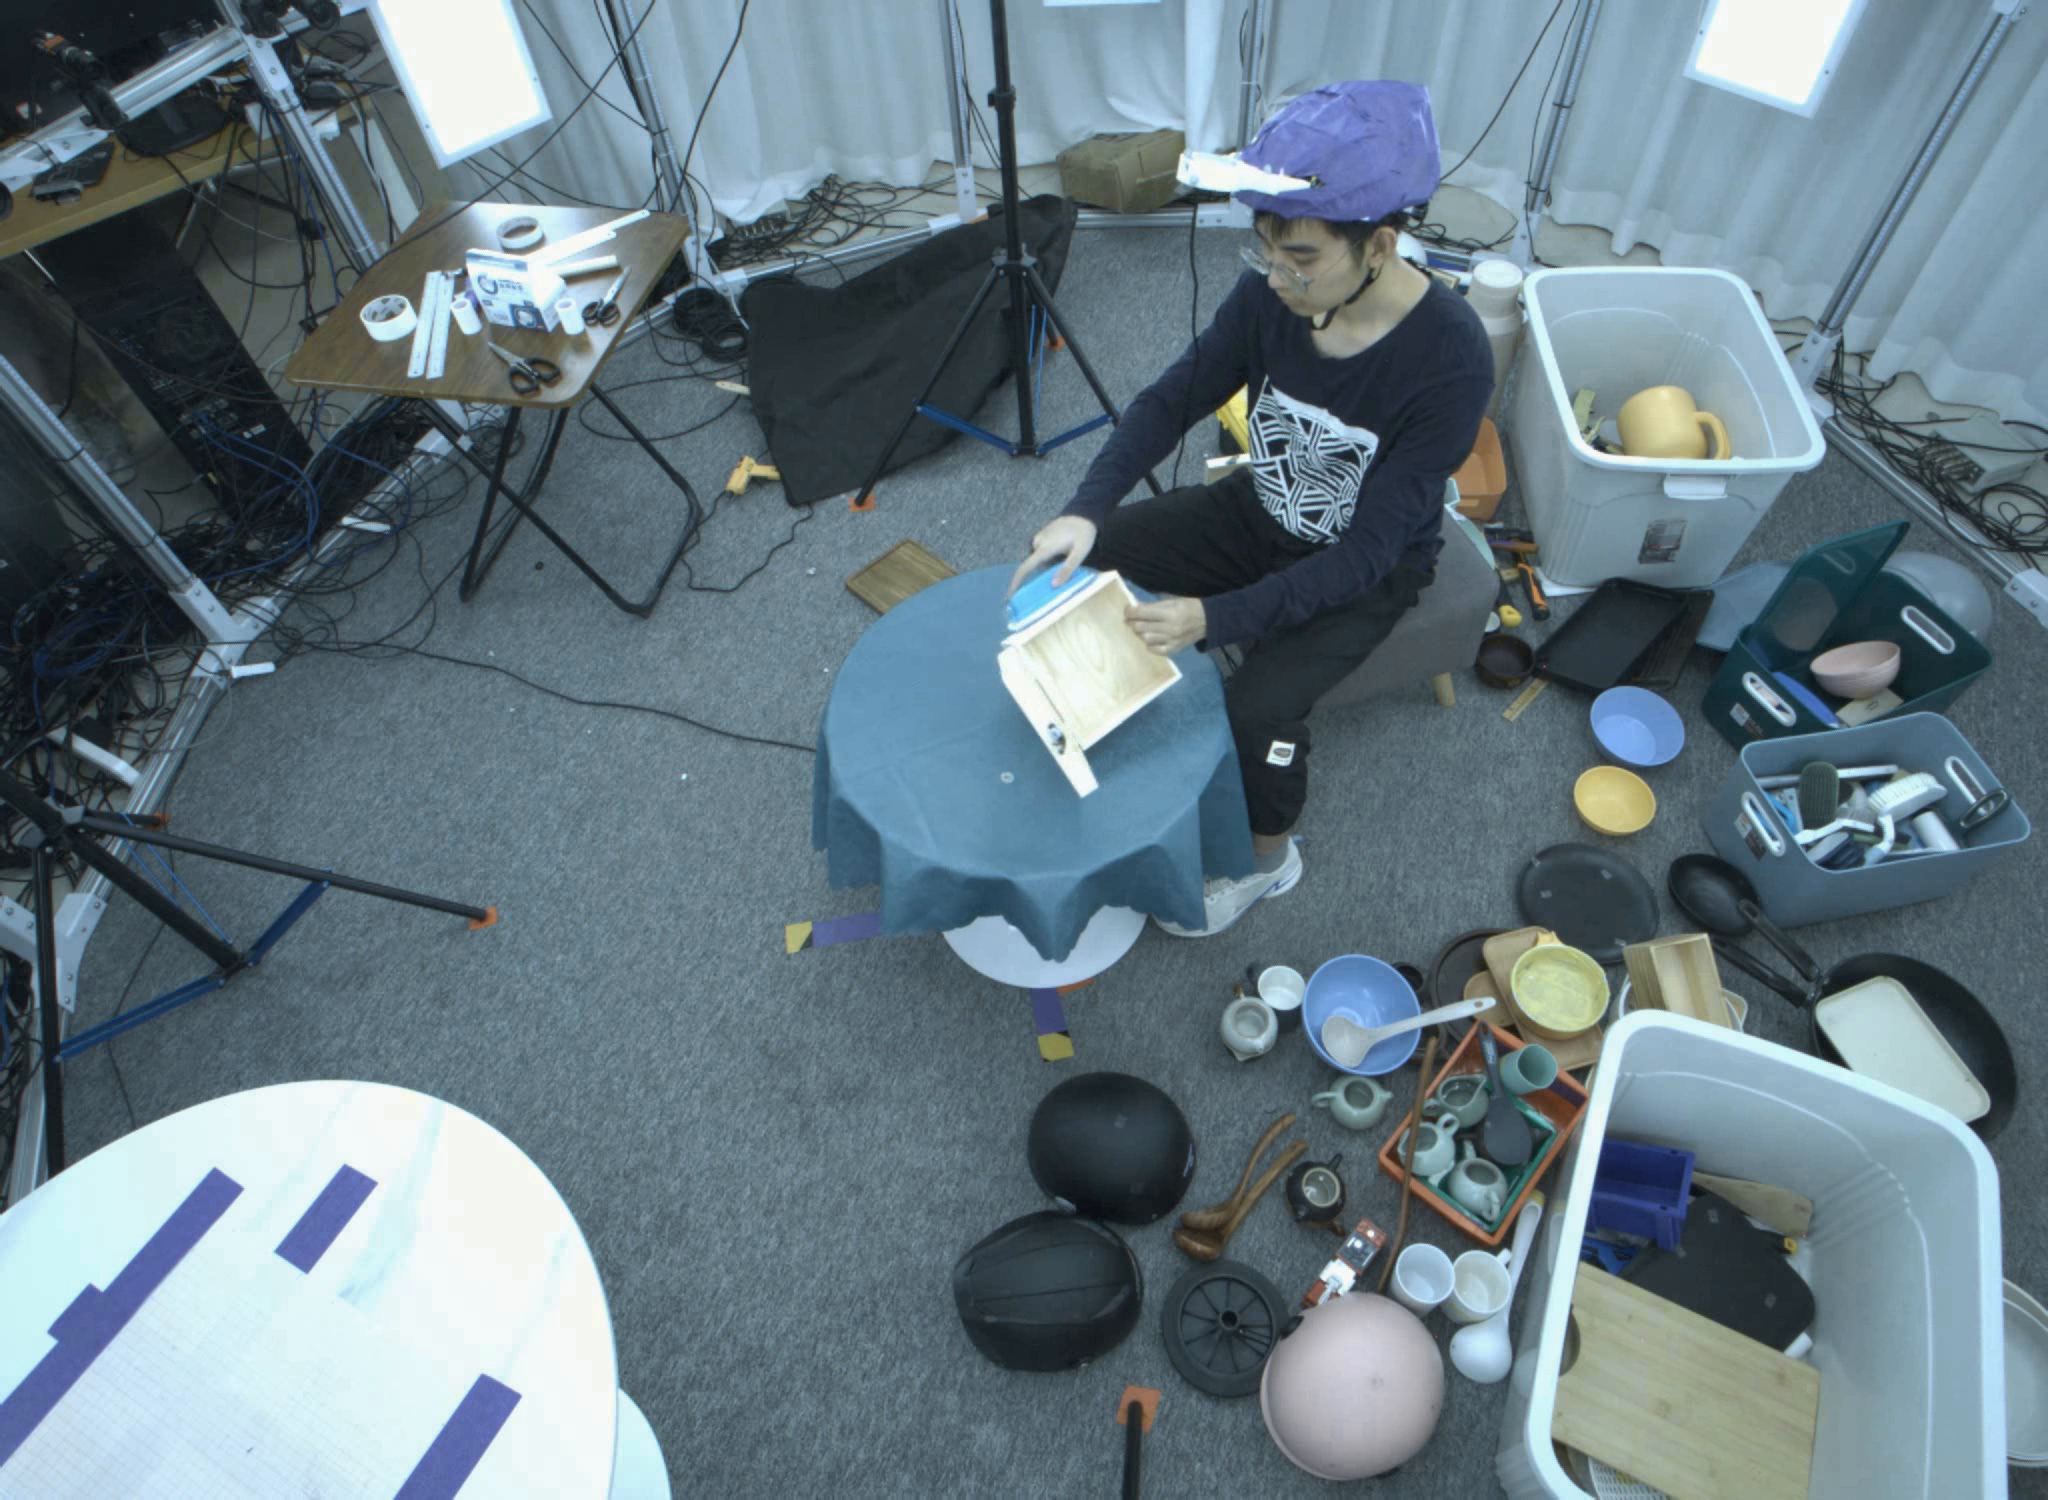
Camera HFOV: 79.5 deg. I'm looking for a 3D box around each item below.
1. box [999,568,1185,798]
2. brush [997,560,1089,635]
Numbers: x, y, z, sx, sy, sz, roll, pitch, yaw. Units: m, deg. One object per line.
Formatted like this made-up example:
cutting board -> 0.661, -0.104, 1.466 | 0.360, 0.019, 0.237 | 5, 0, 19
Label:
box -> 0.094, -0.101, 1.648 | 0.266, 0.249, 0.184 | -38, 105, -10
brush -> 0.021, -0.224, 1.759 | 0.144, 0.057, 0.082 | -40, 23, -11
